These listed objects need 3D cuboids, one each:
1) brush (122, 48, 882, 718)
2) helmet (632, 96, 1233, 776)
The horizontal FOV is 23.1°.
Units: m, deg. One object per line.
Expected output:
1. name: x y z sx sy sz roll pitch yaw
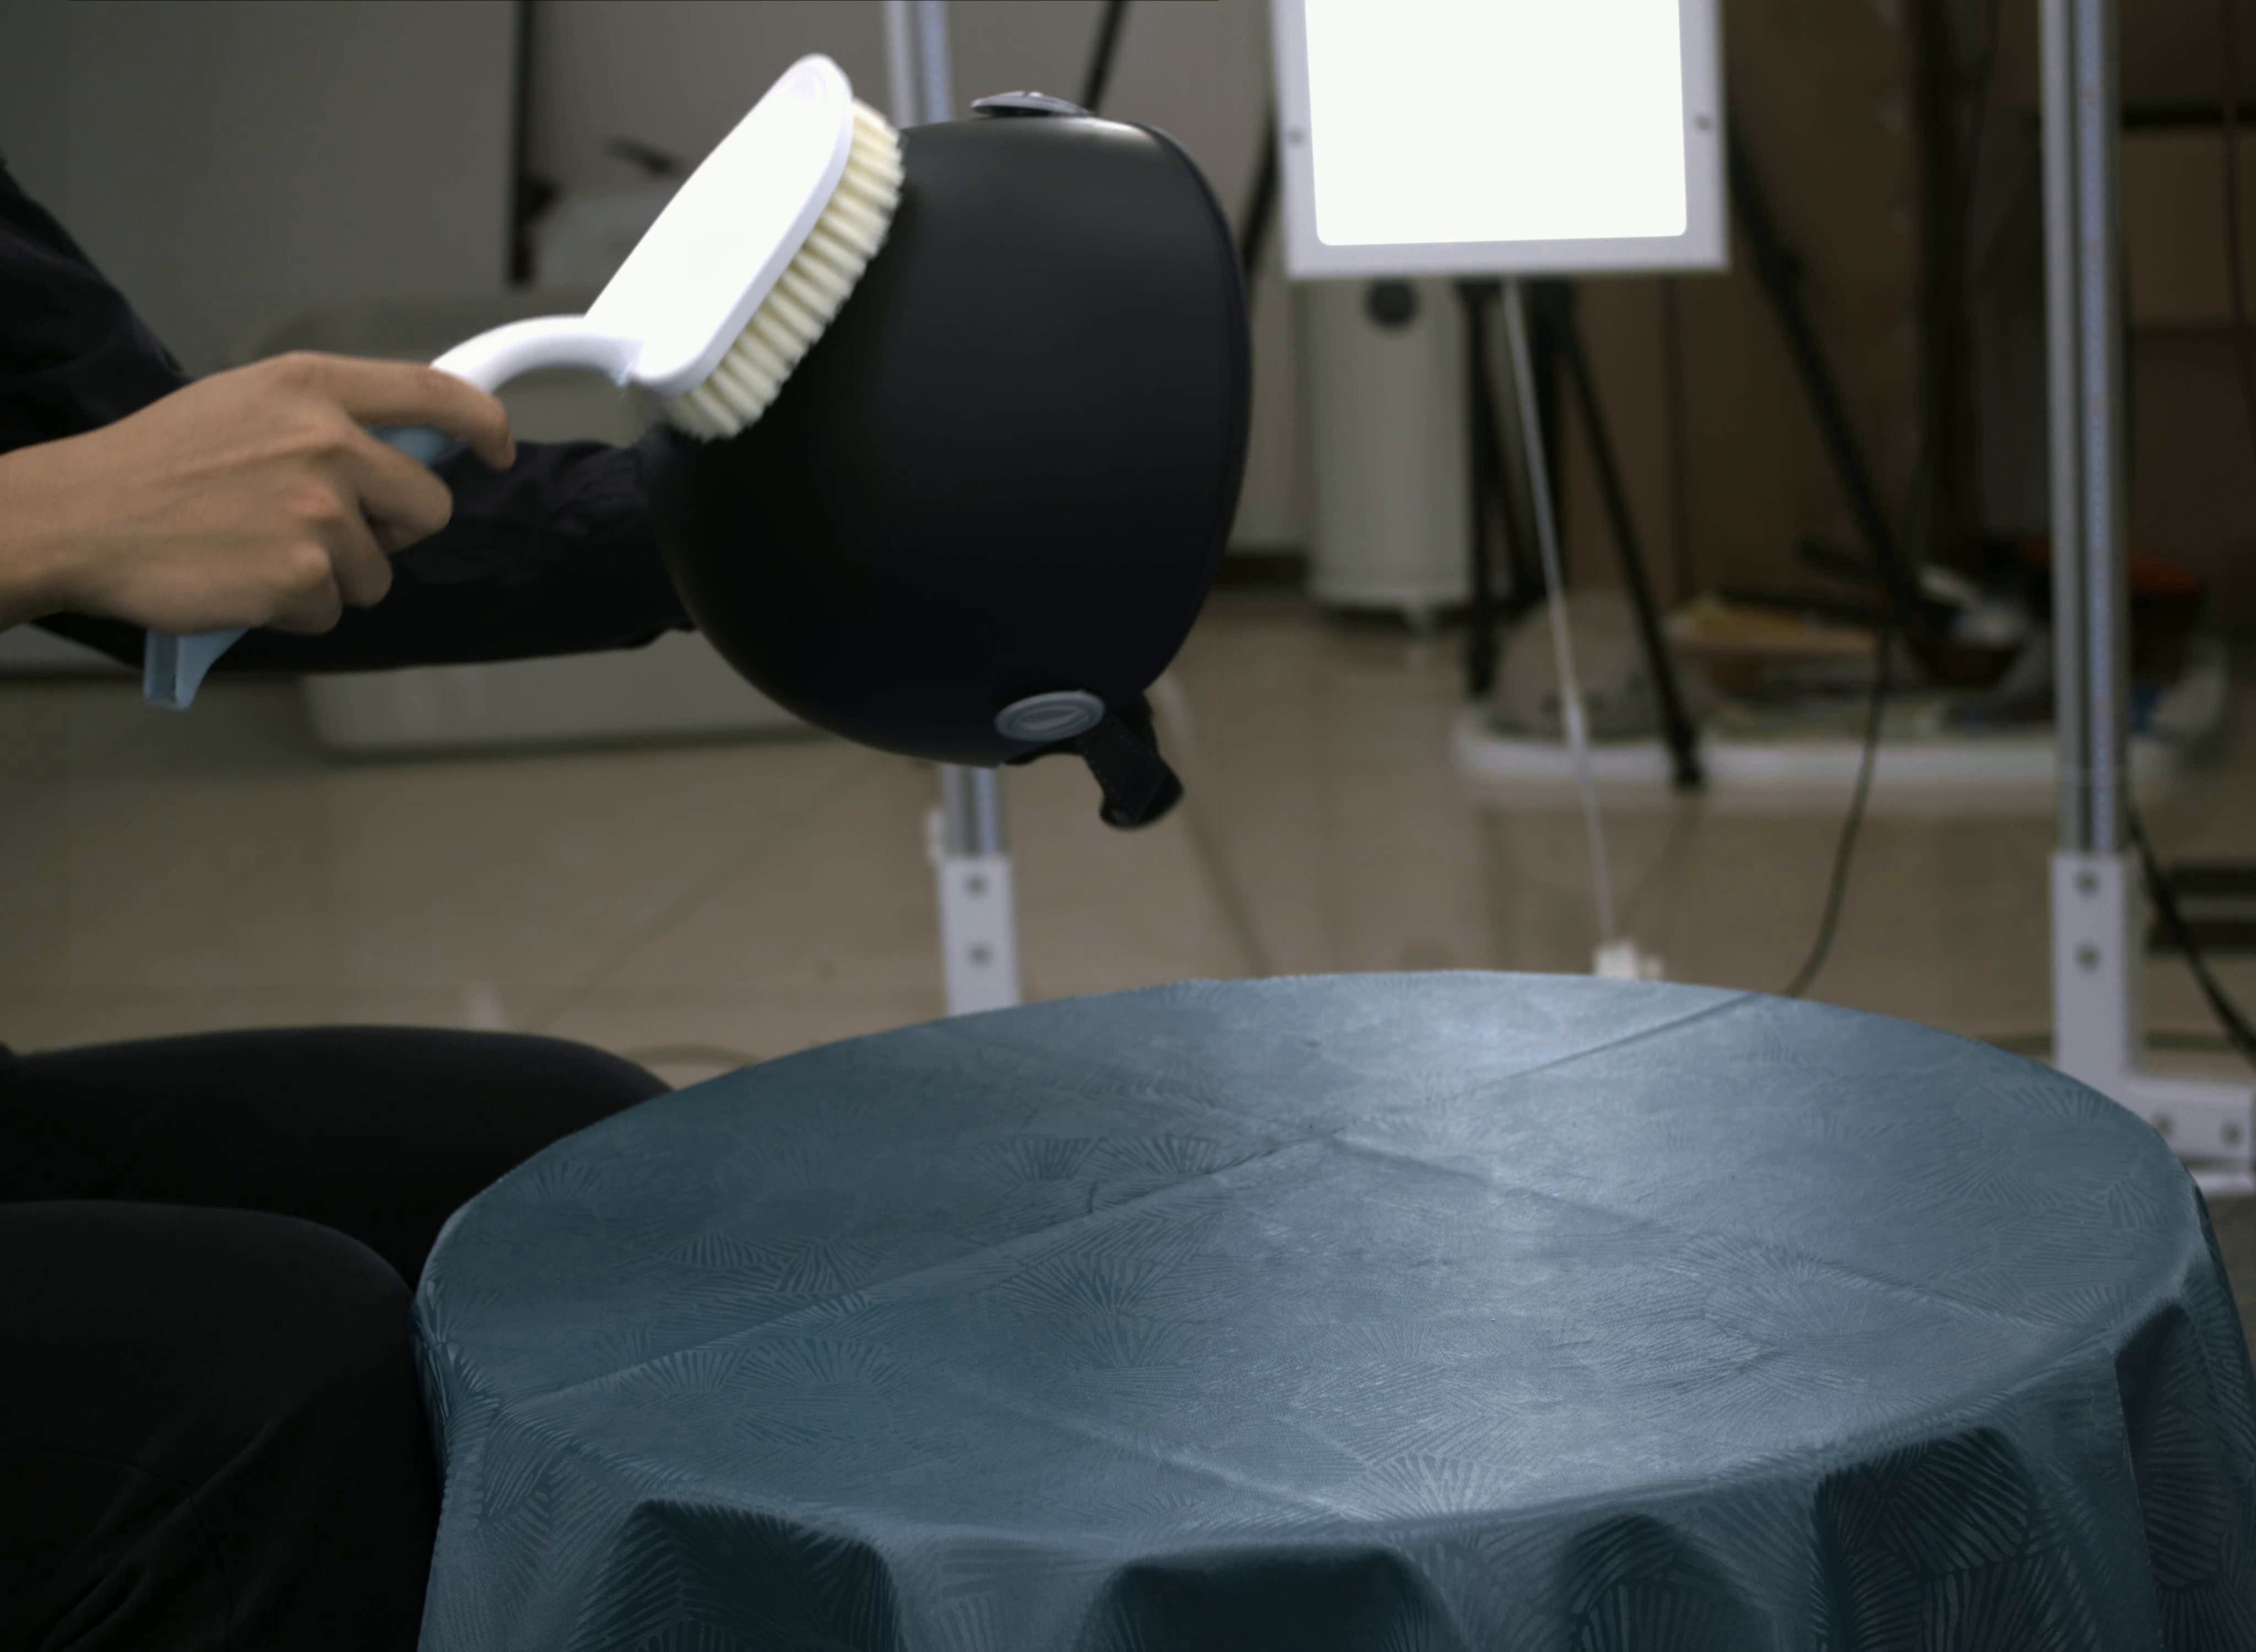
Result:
1. brush: -0.196 -0.127 1.811 0.322 0.084 0.084 -45 -2 -17
2. helmet: -0.082 -0.136 1.922 0.163 0.230 0.278 1 -9 -22
